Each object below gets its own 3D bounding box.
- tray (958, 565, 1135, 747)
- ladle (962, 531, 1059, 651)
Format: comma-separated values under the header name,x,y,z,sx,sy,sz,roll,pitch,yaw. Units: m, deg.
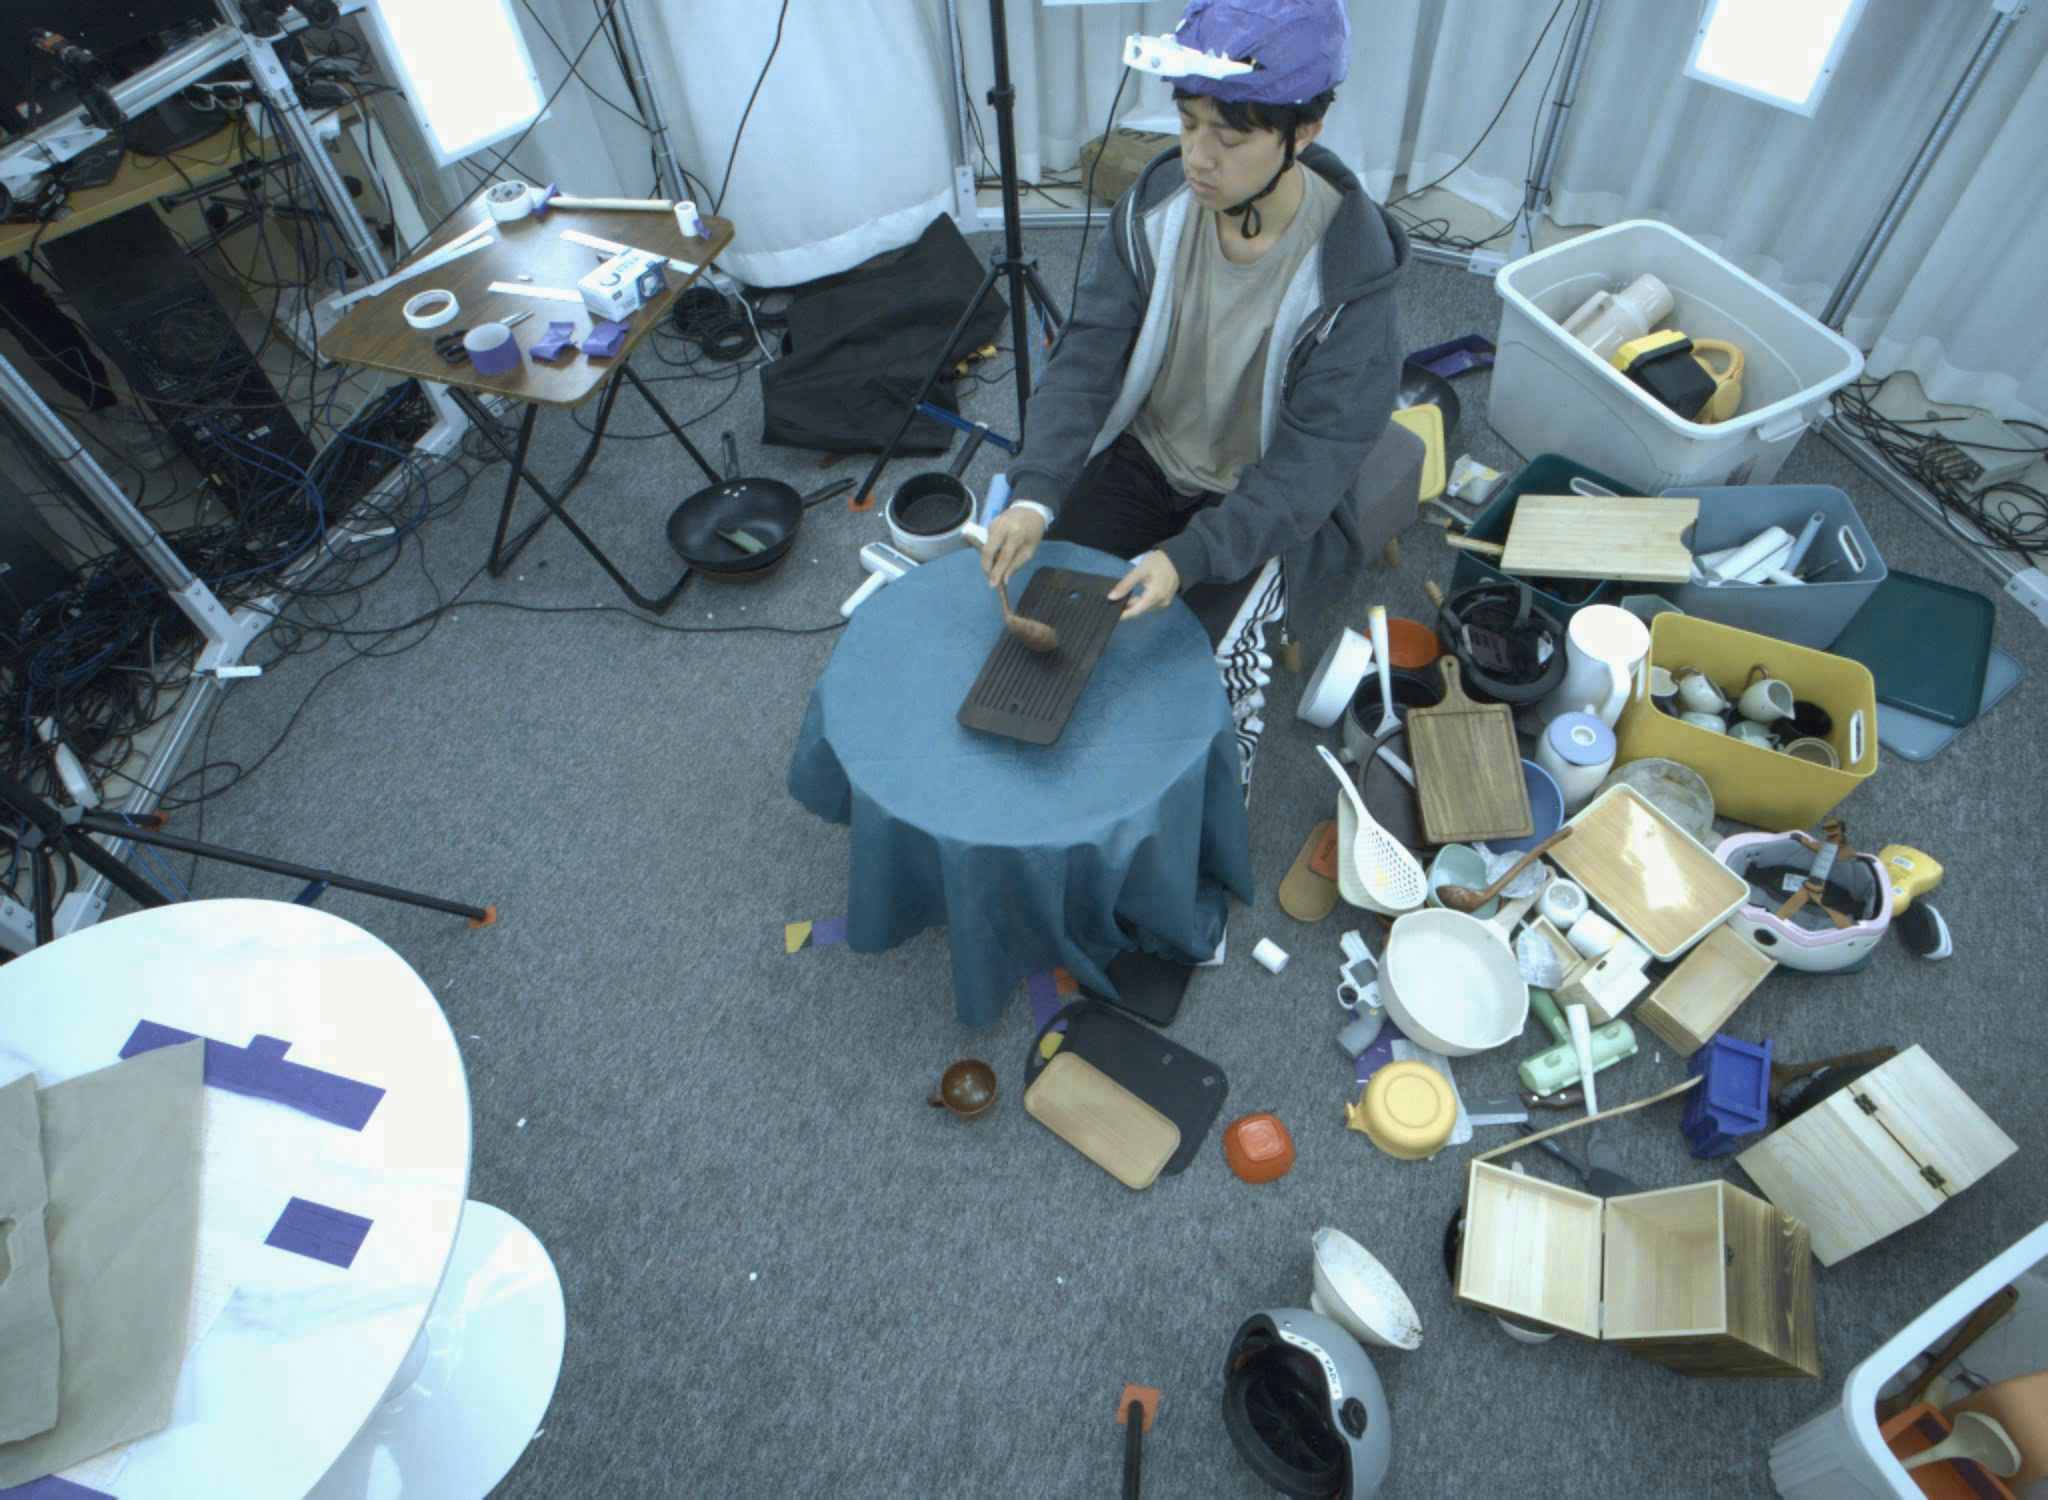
name,x,y,z,sx,sy,sz,roll,pitch,yaw
tray,0.036,-0.143,1.822,0.167,0.019,0.306,15,64,26
ladle,-0.024,-0.247,1.833,0.065,0.078,0.256,-29,60,7
